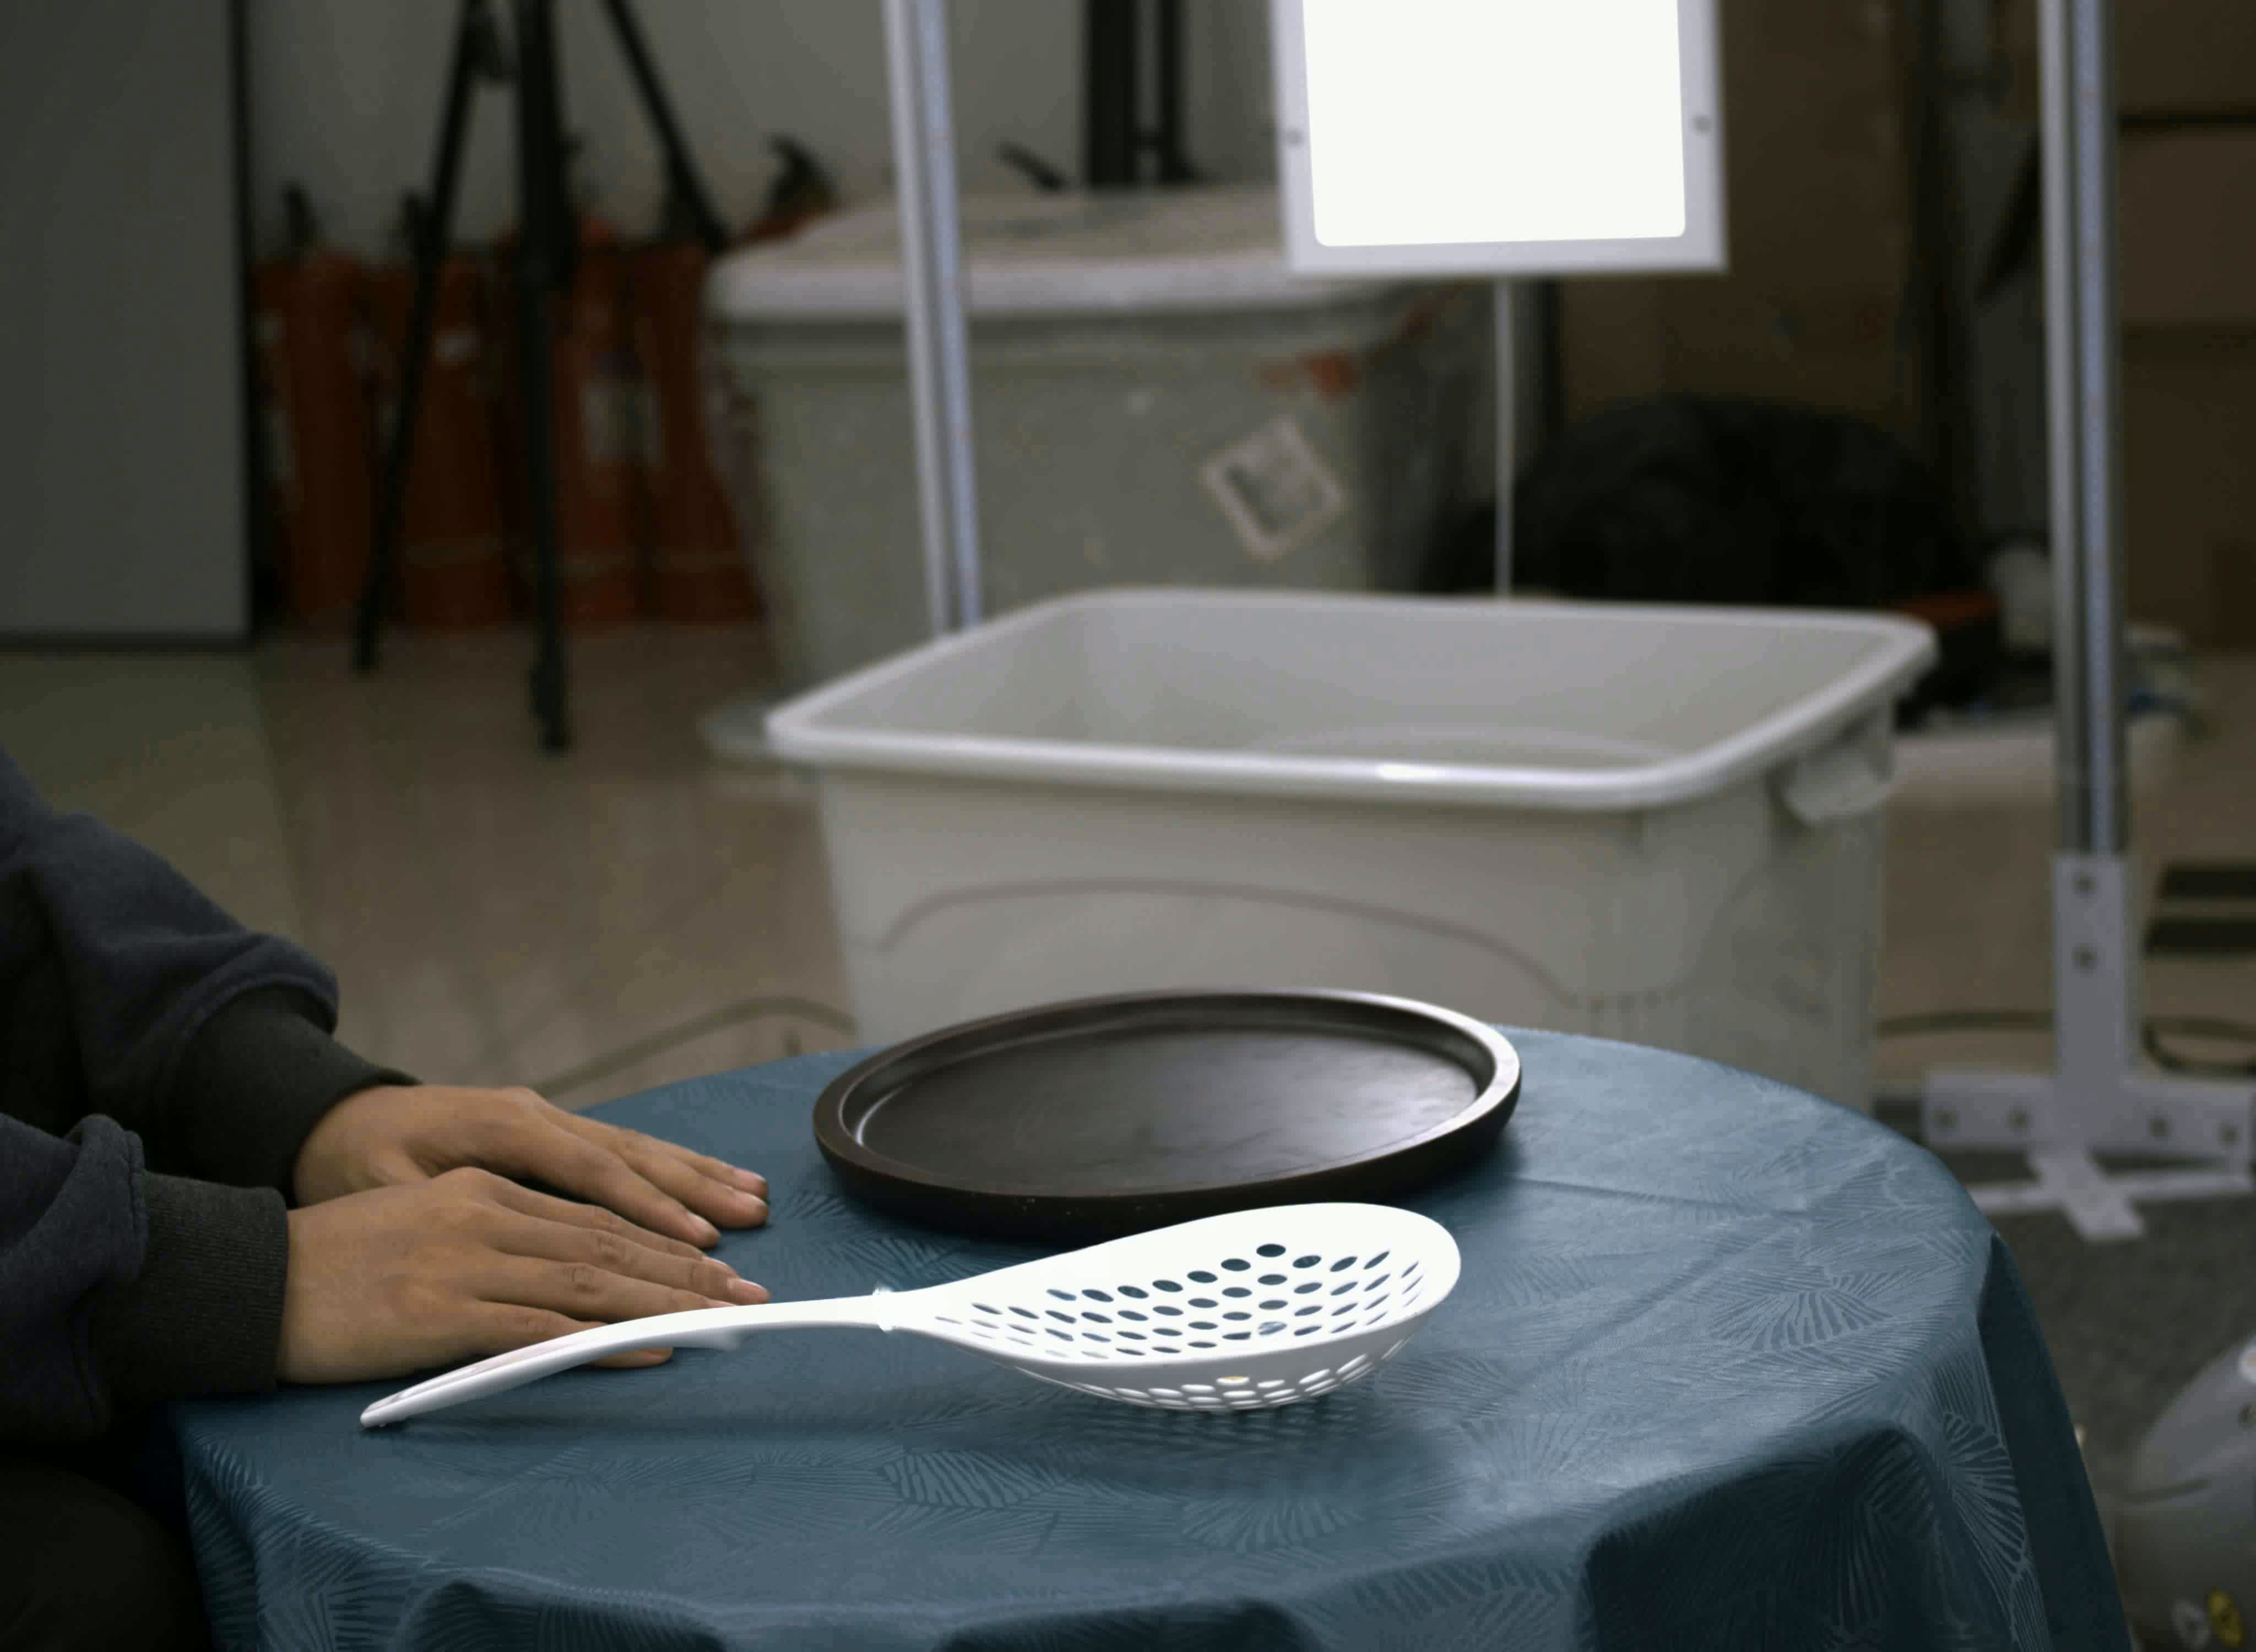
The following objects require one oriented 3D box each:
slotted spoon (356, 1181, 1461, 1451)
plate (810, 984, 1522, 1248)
[{"bbox_3d":[-0.069,0.160,1.701,0.349,0.050,0.135,-3,16,9],"label":"slotted spoon"},{"bbox_3d":[0.014,0.101,1.945,0.254,0.029,0.254,-6,15,0],"label":"plate"}]
